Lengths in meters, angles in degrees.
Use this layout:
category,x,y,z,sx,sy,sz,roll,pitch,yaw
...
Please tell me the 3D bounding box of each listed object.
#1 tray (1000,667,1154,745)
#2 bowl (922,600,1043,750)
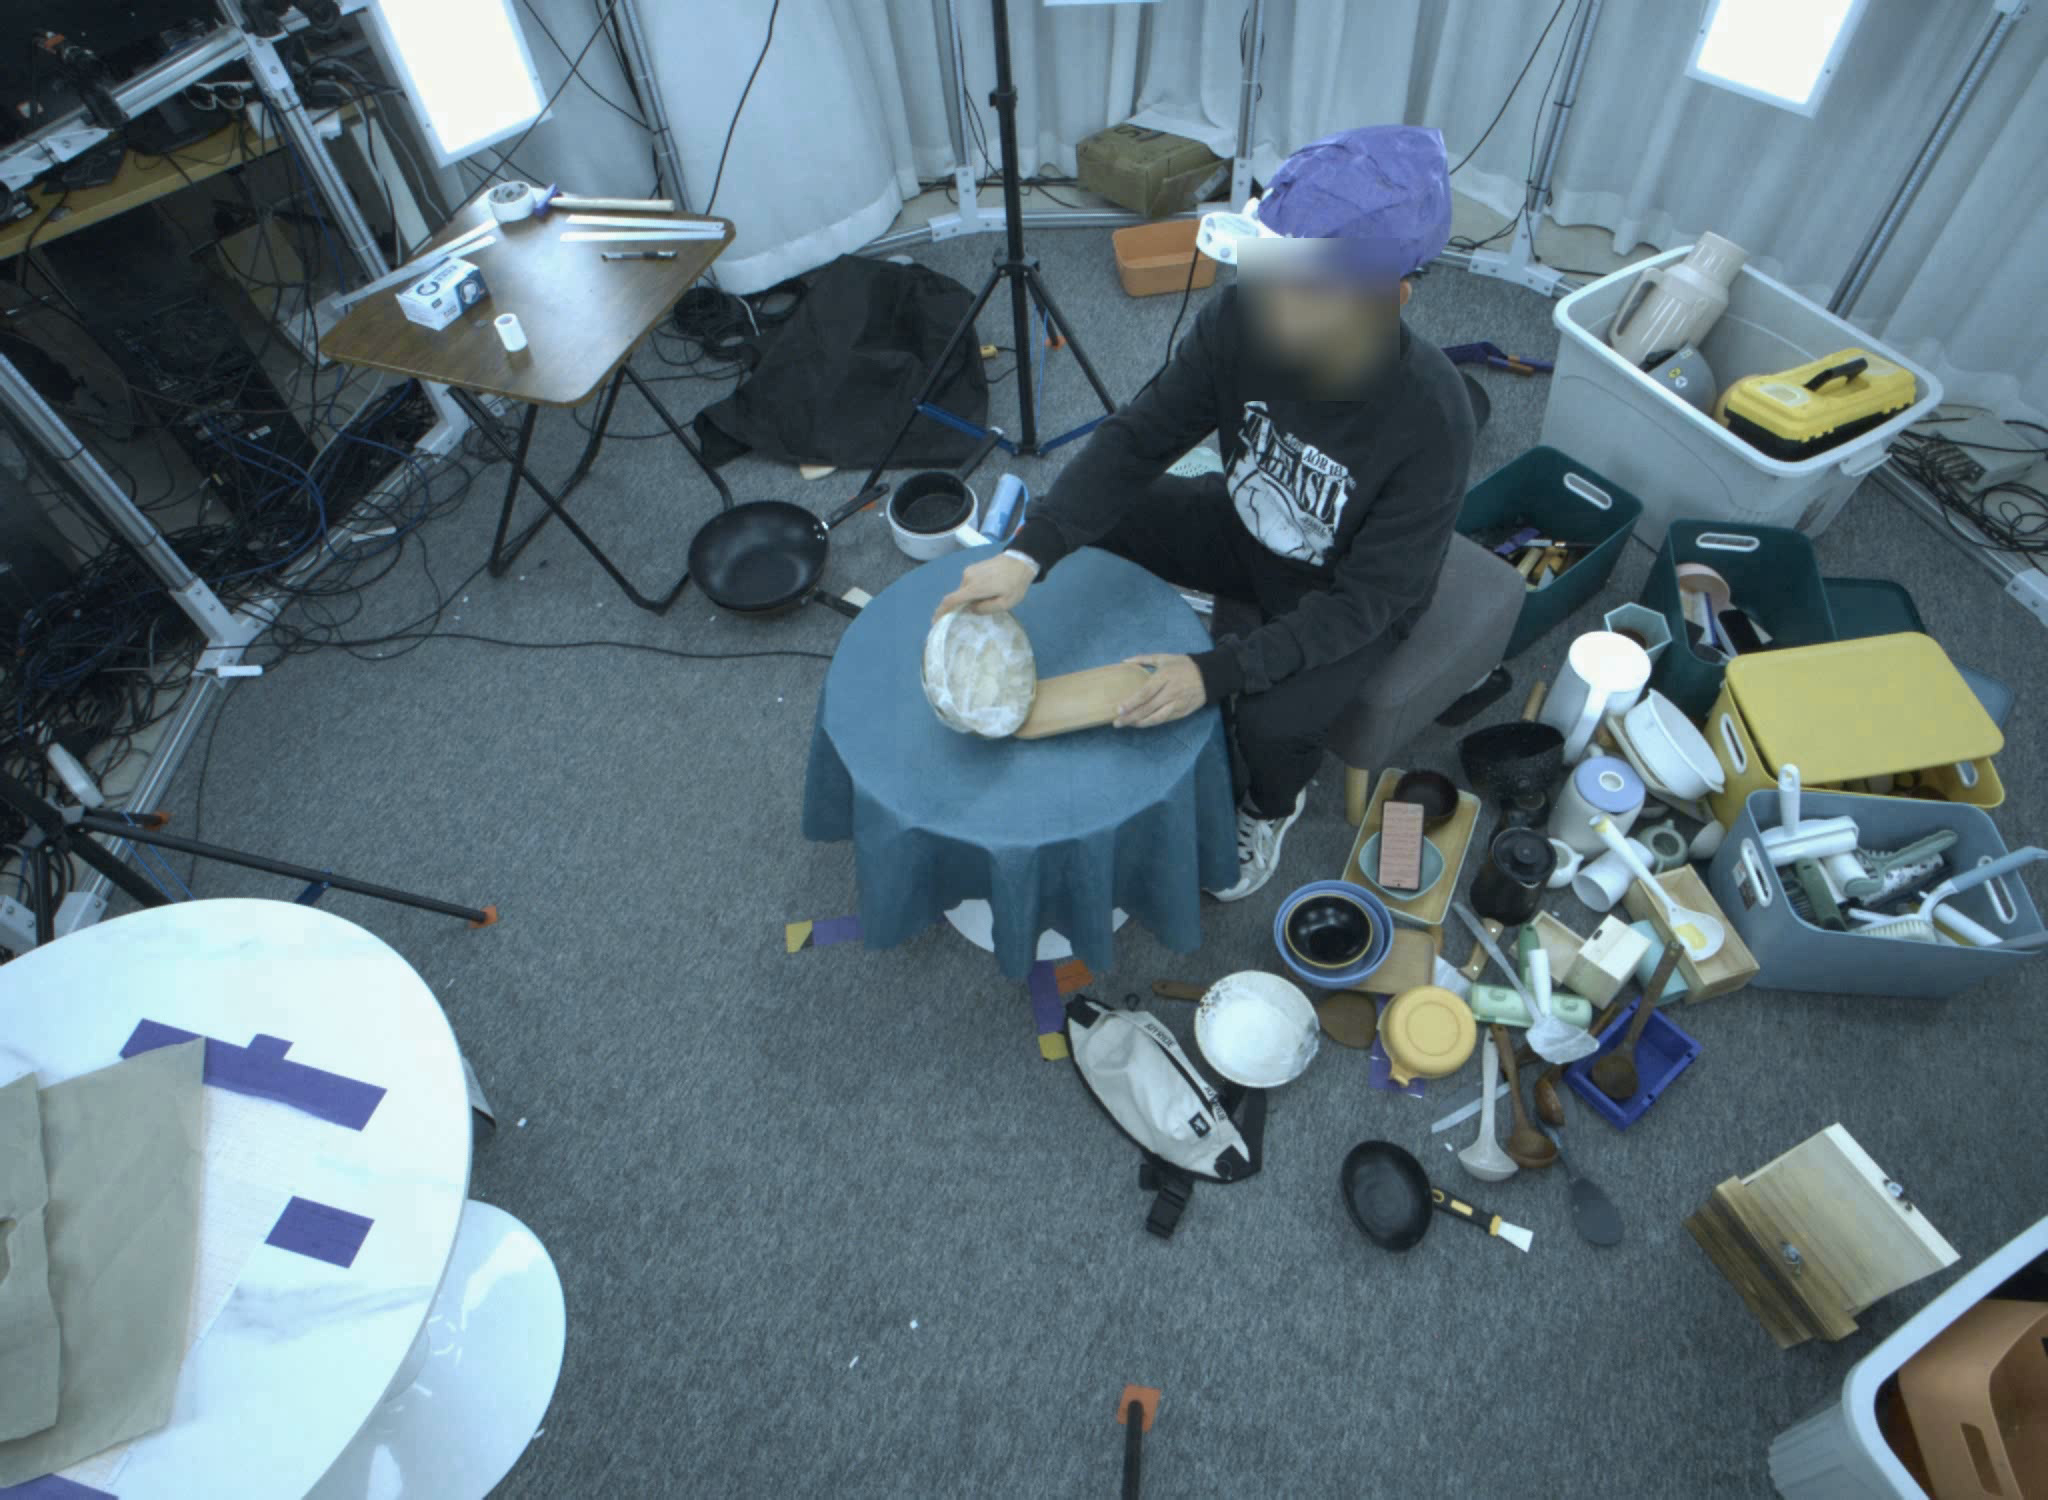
category,x,y,z,sx,sy,sz,roll,pitch,yaw
tray,0.078,-0.064,1.806,0.230,0.020,0.100,-13,51,7
bowl,-0.075,-0.104,1.766,0.093,0.219,0.214,-7,47,39
